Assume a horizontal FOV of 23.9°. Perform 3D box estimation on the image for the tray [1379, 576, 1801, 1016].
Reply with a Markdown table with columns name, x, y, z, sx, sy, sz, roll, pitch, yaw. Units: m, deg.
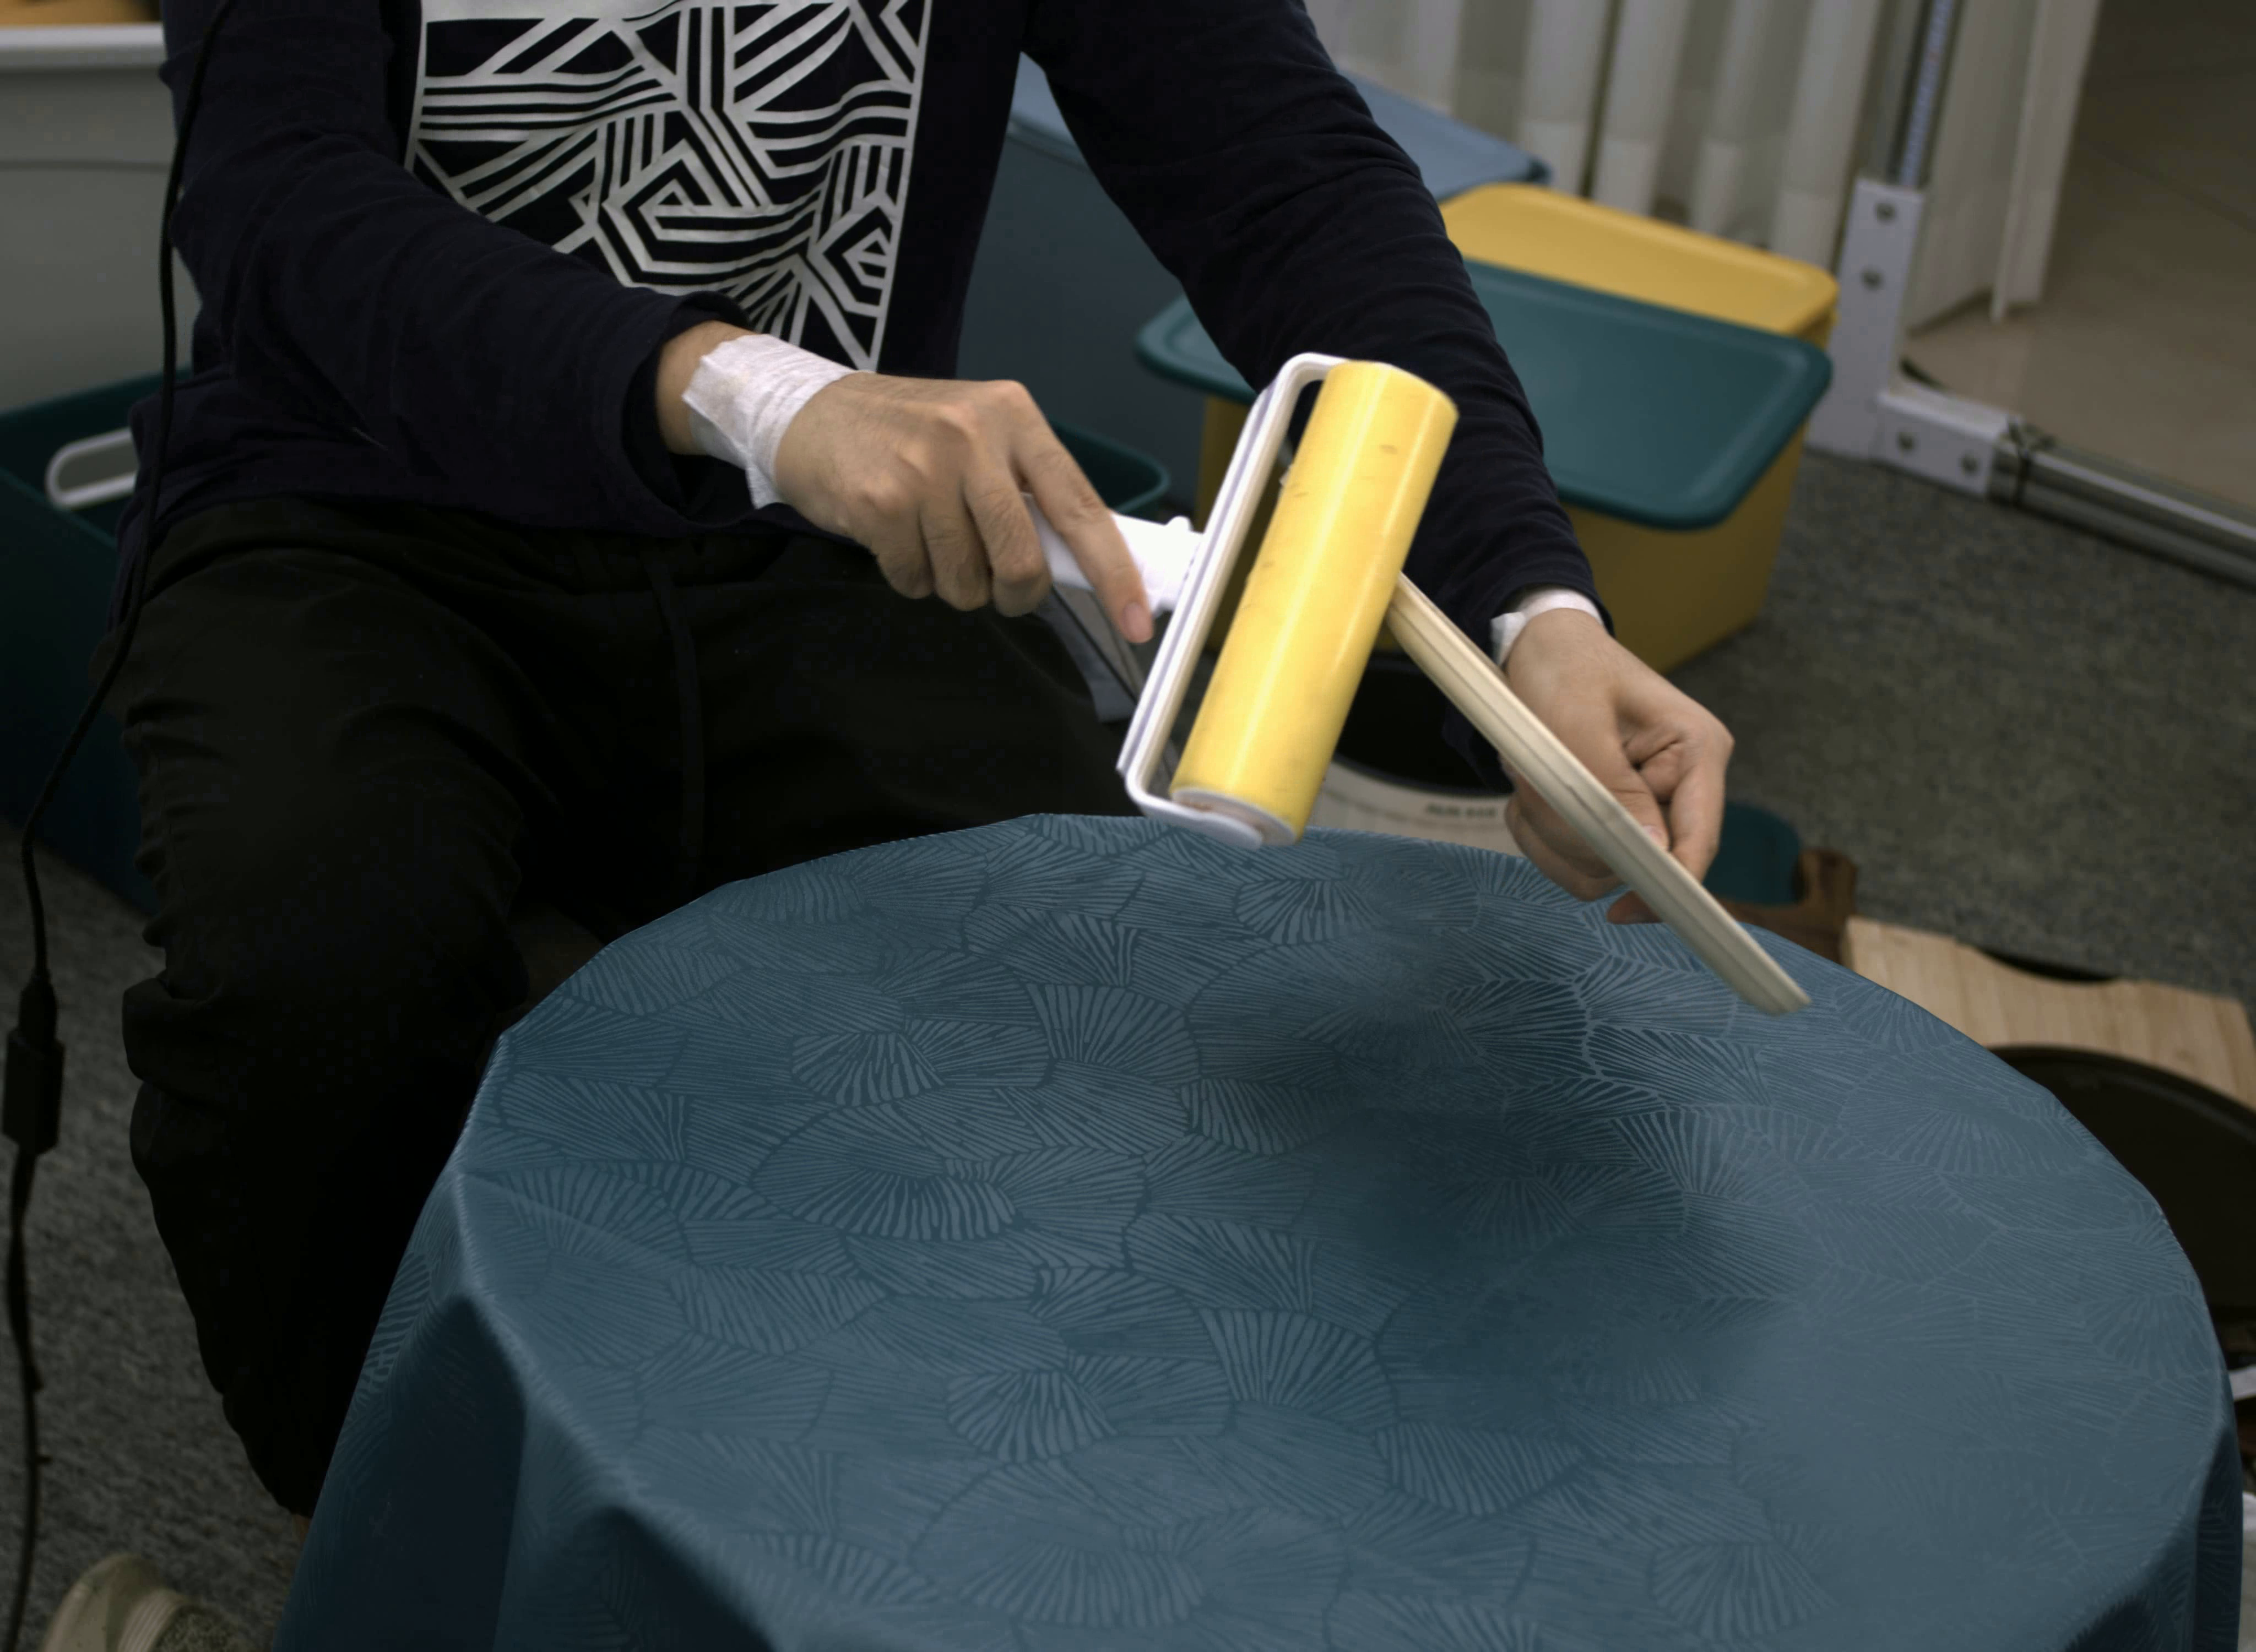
| name | x | y | z | sx | sy | sz | roll | pitch | yaw |
| --- | --- | --- | --- | --- | --- | --- | --- | --- | --- |
| tray | 0.137 | -0.030 | 1.843 | 0.169 | 0.017 | 0.242 | 44 | 5 | -39 |

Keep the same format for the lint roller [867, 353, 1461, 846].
| name | x | y | z | sx | sy | sz | roll | pitch | yaw |
| --- | --- | --- | --- | --- | --- | --- | --- | --- | --- |
| lint roller | -0.002 | -0.094 | 1.805 | 0.192 | 0.051 | 0.175 | 16 | 72 | 14 |
